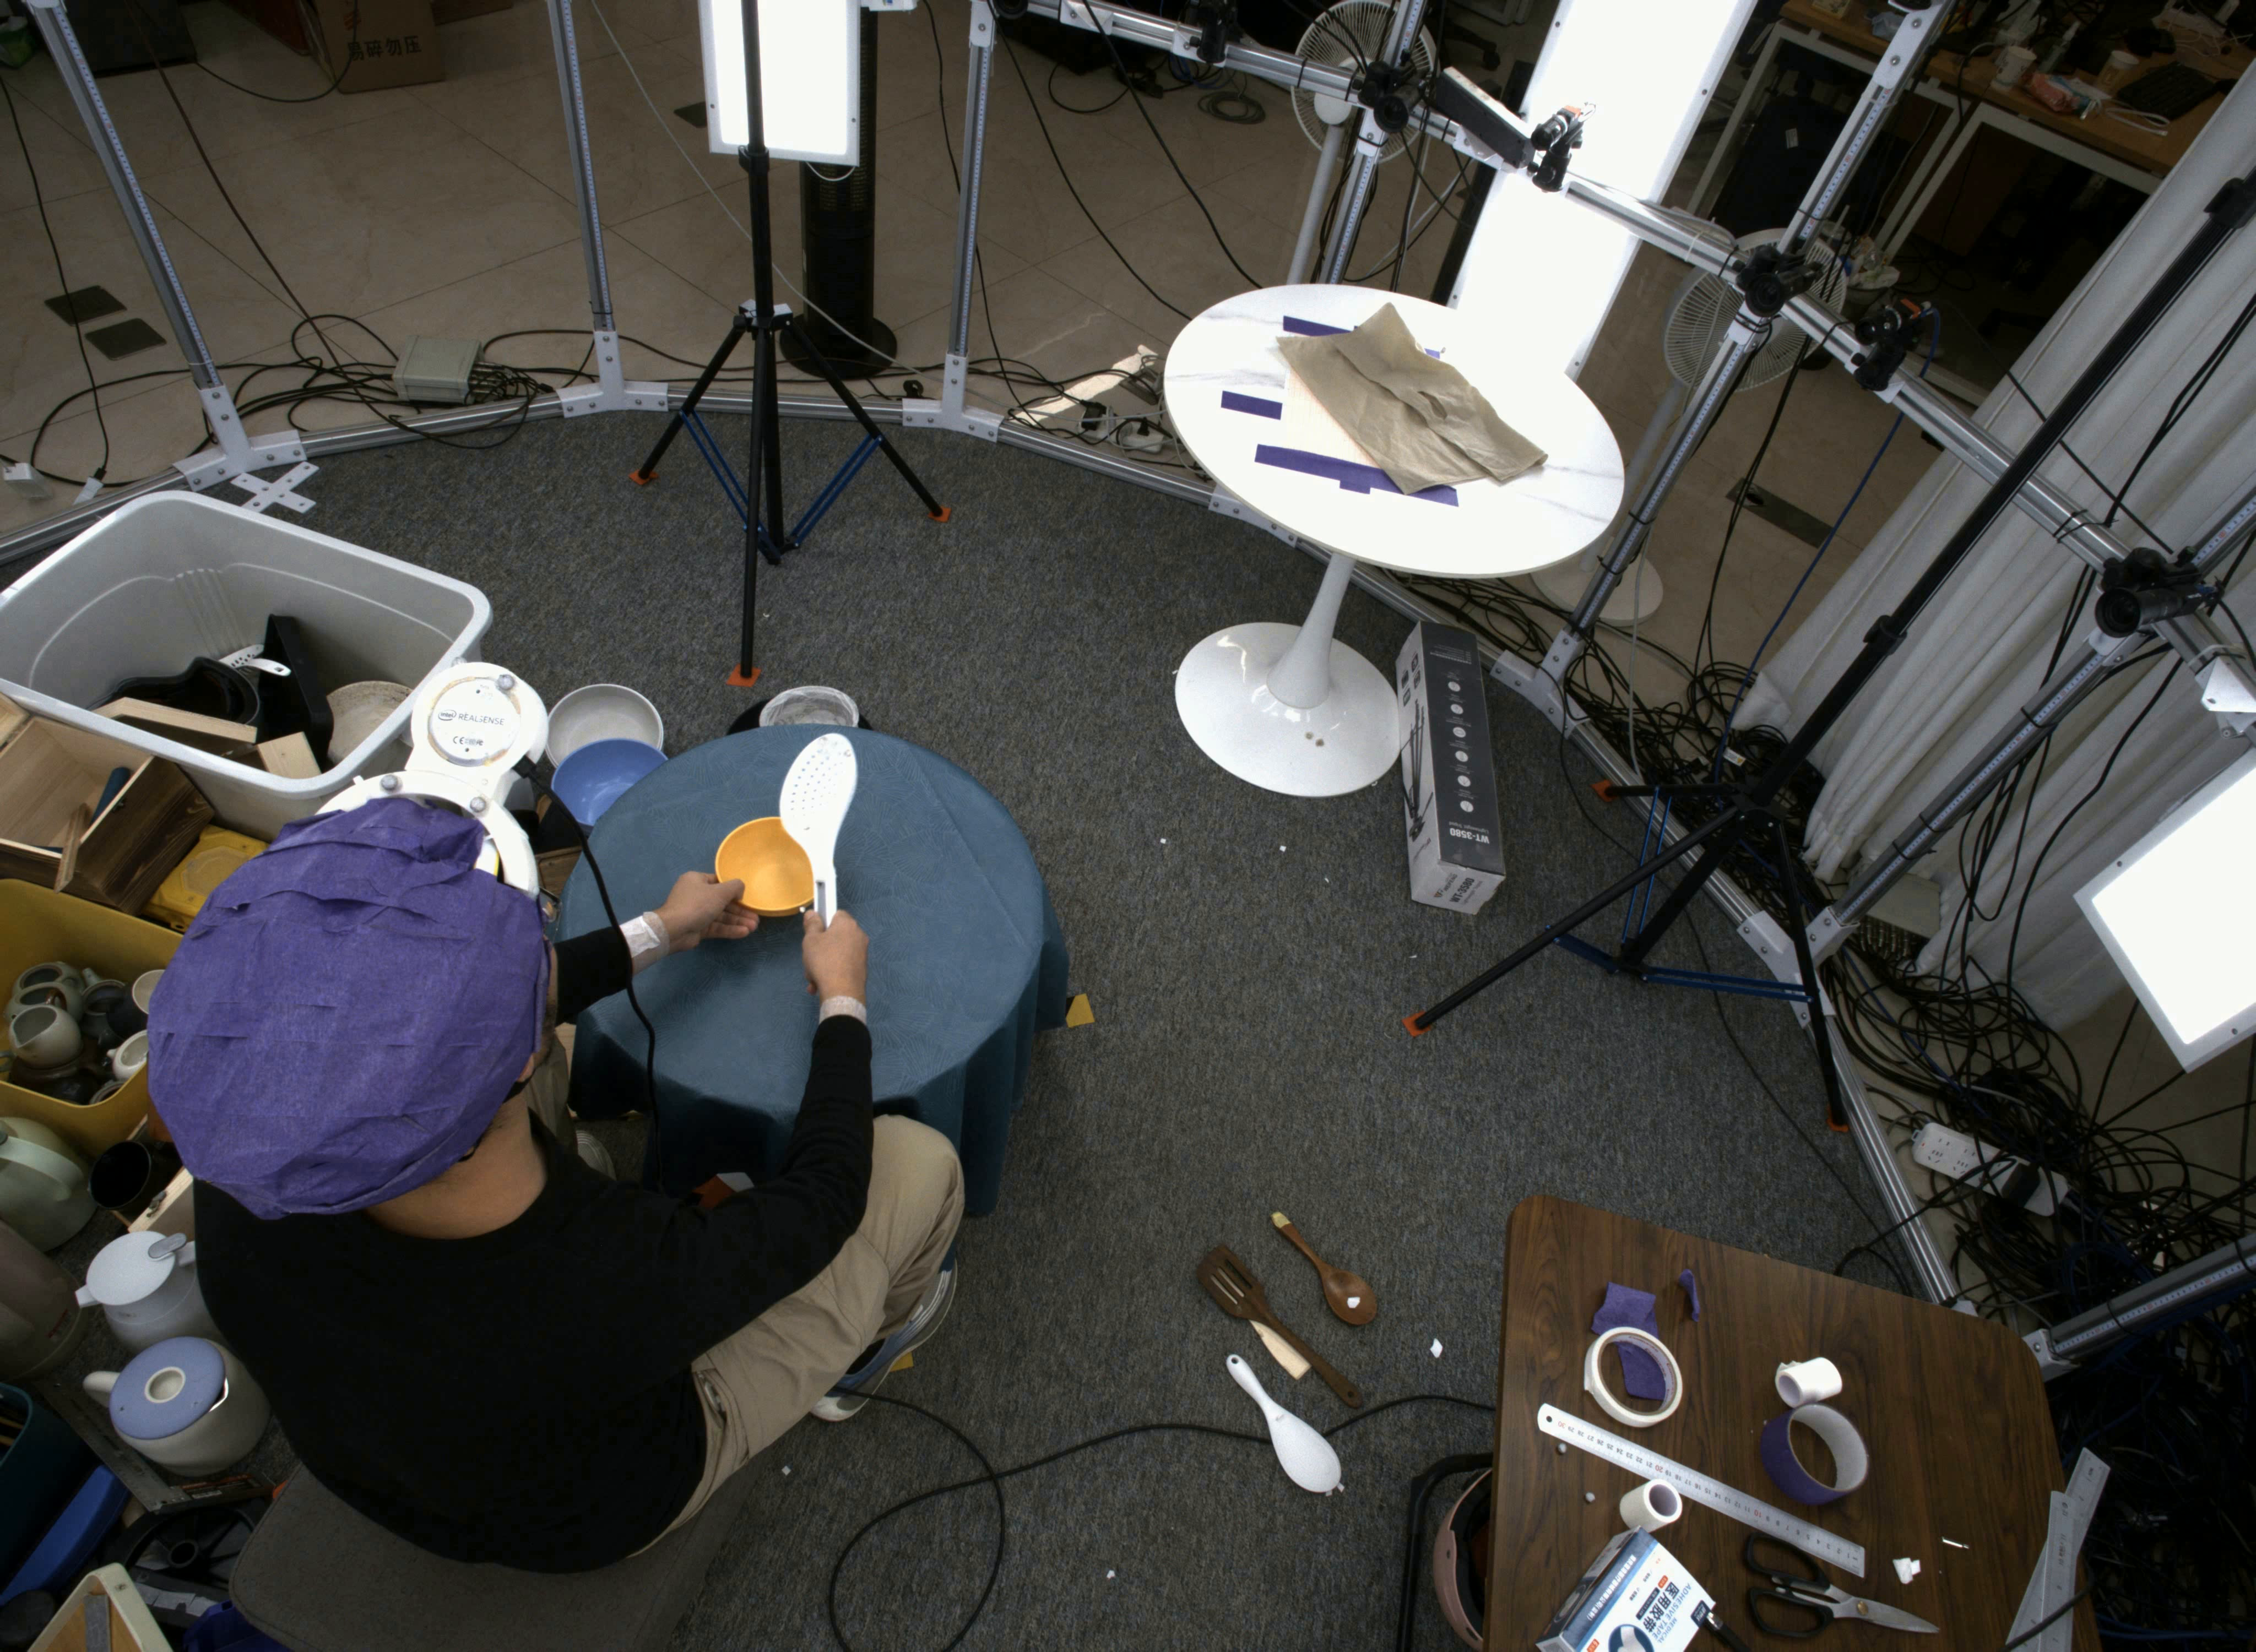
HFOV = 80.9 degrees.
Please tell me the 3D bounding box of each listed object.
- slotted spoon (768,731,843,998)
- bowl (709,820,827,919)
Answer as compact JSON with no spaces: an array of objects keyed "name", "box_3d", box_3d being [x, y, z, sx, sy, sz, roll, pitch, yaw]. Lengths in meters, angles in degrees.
[{"name":"slotted spoon","box_3d":[-0.375,0.041,1.541,0.047,0.134,0.342,31,40,-44]},{"name":"bowl","box_3d":[-0.451,0.064,1.627,0.145,0.061,0.142,8,50,-8]}]
